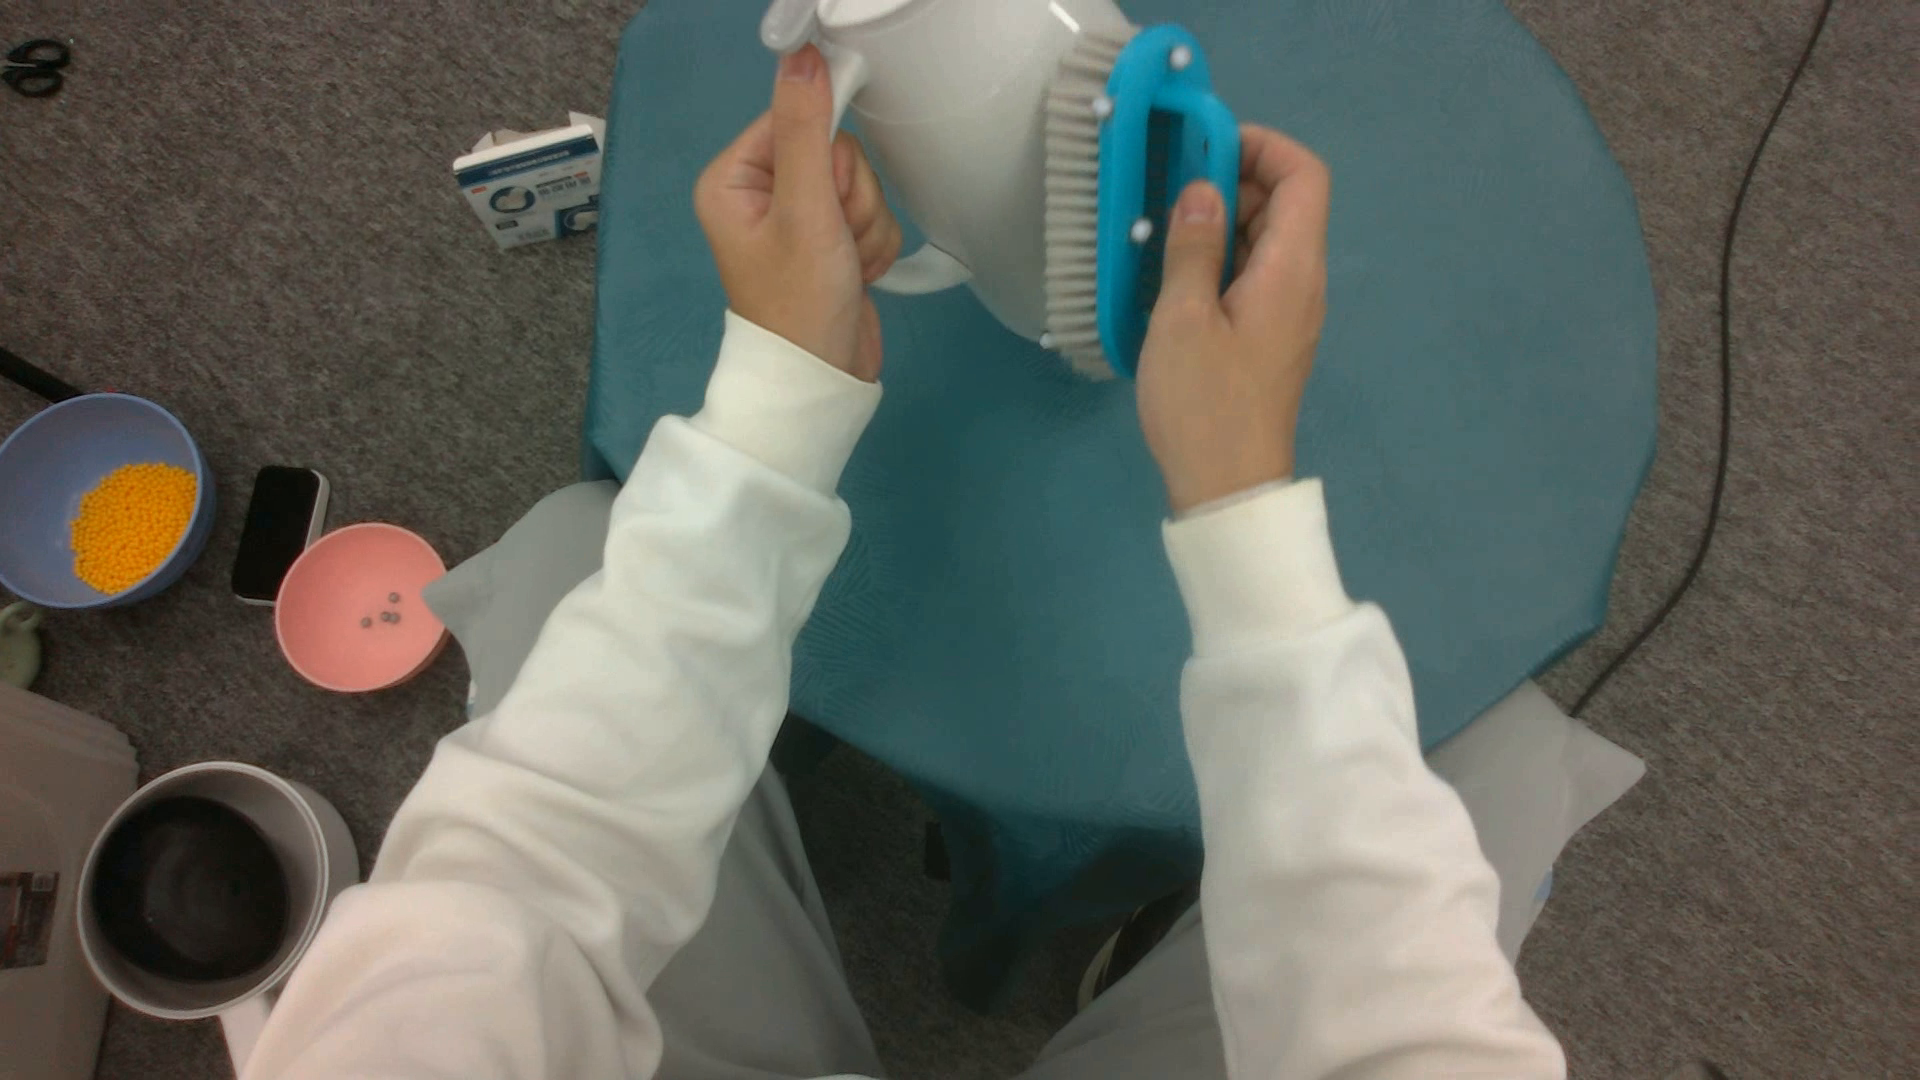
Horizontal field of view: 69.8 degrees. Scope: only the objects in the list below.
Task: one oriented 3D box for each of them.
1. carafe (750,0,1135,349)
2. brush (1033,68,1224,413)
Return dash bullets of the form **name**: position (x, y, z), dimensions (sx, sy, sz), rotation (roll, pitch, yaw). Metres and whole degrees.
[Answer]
- **carafe**: position (0.001, -0.177, 0.621), dimensions (0.132, 0.248, 0.167), rotation (32, 91, 31)
- **brush**: position (0.077, -0.122, 0.573), dimensions (0.063, 0.085, 0.141), rotation (11, 111, 35)
